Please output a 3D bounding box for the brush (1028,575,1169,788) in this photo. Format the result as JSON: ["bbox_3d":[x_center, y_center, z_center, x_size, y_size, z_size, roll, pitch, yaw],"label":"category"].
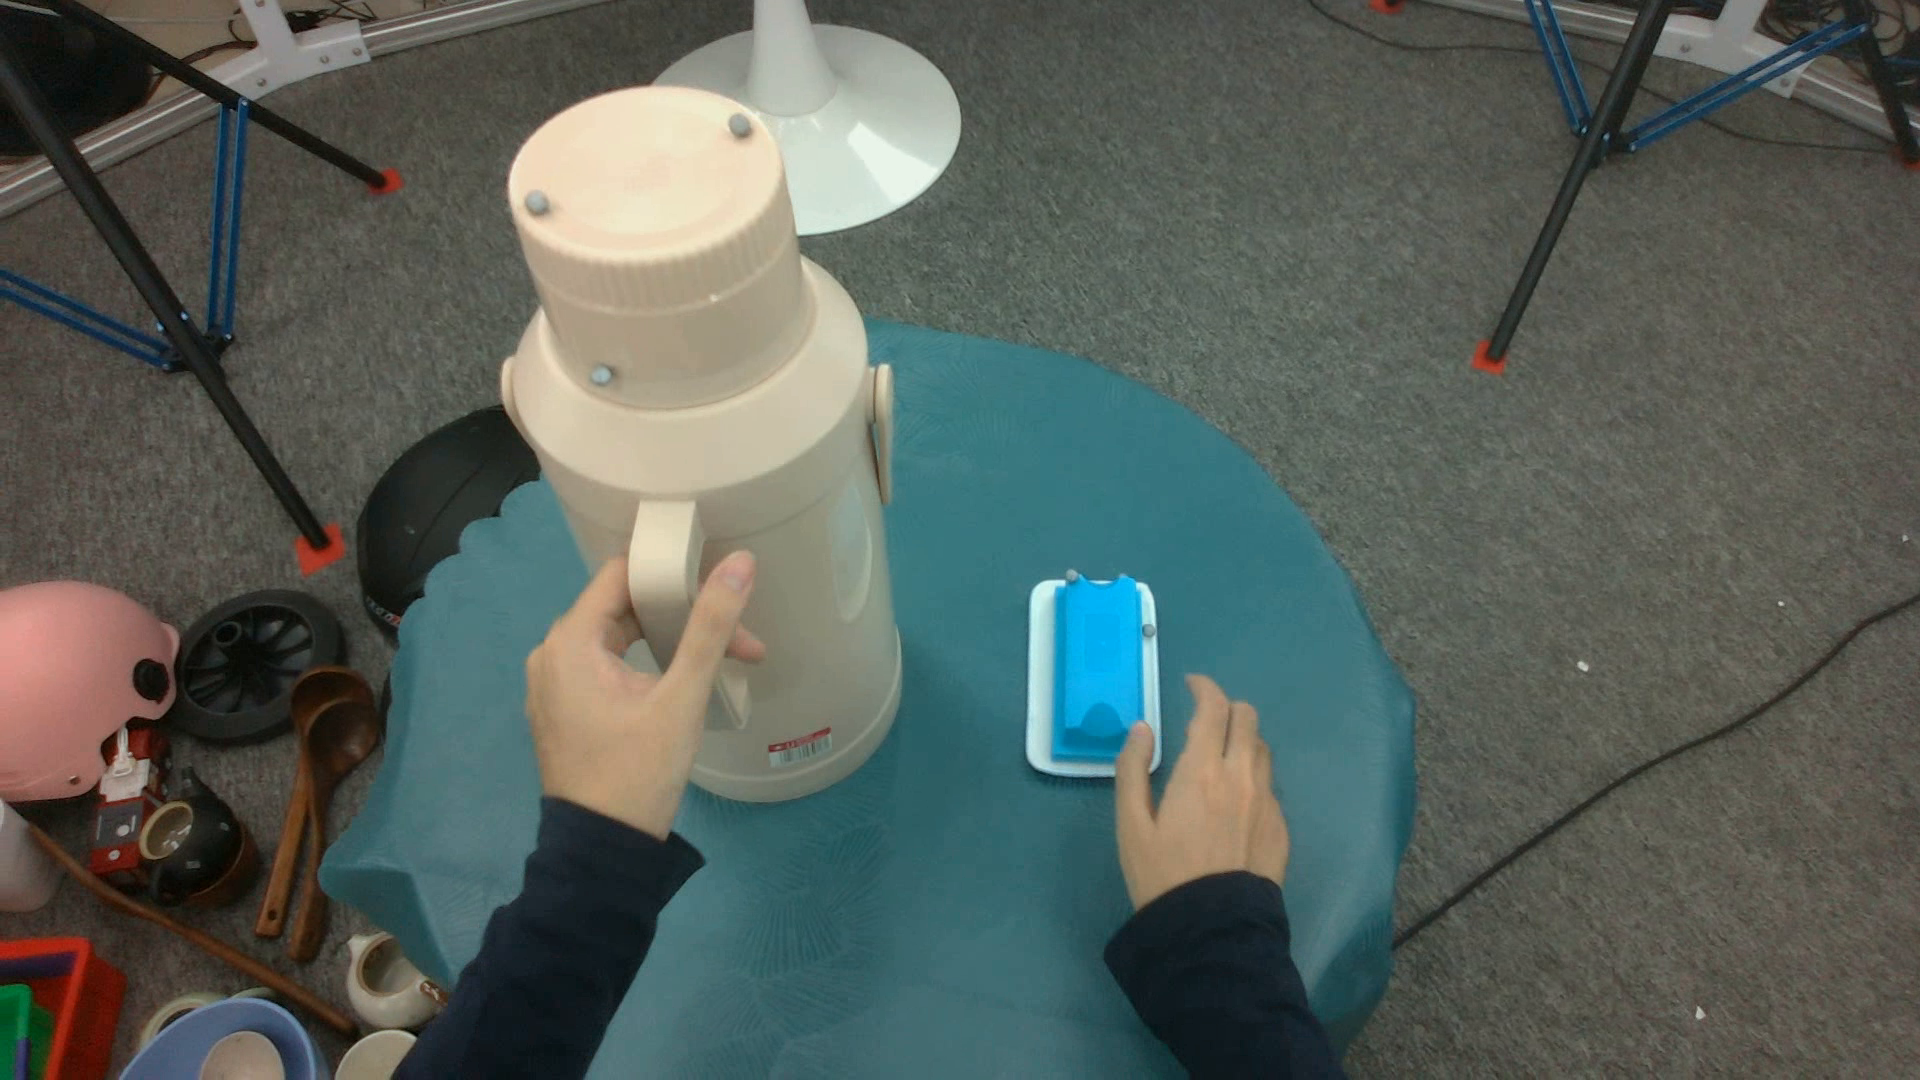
[{"bbox_3d":[0.085,0.078,0.837,0.084,0.055,0.144,1,51,6],"label":"brush"}]

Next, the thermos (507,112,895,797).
[{"bbox_3d":[-0.123,-0.011,0.701,0.175,0.404,0.208,1,55,0],"label":"thermos"}]
